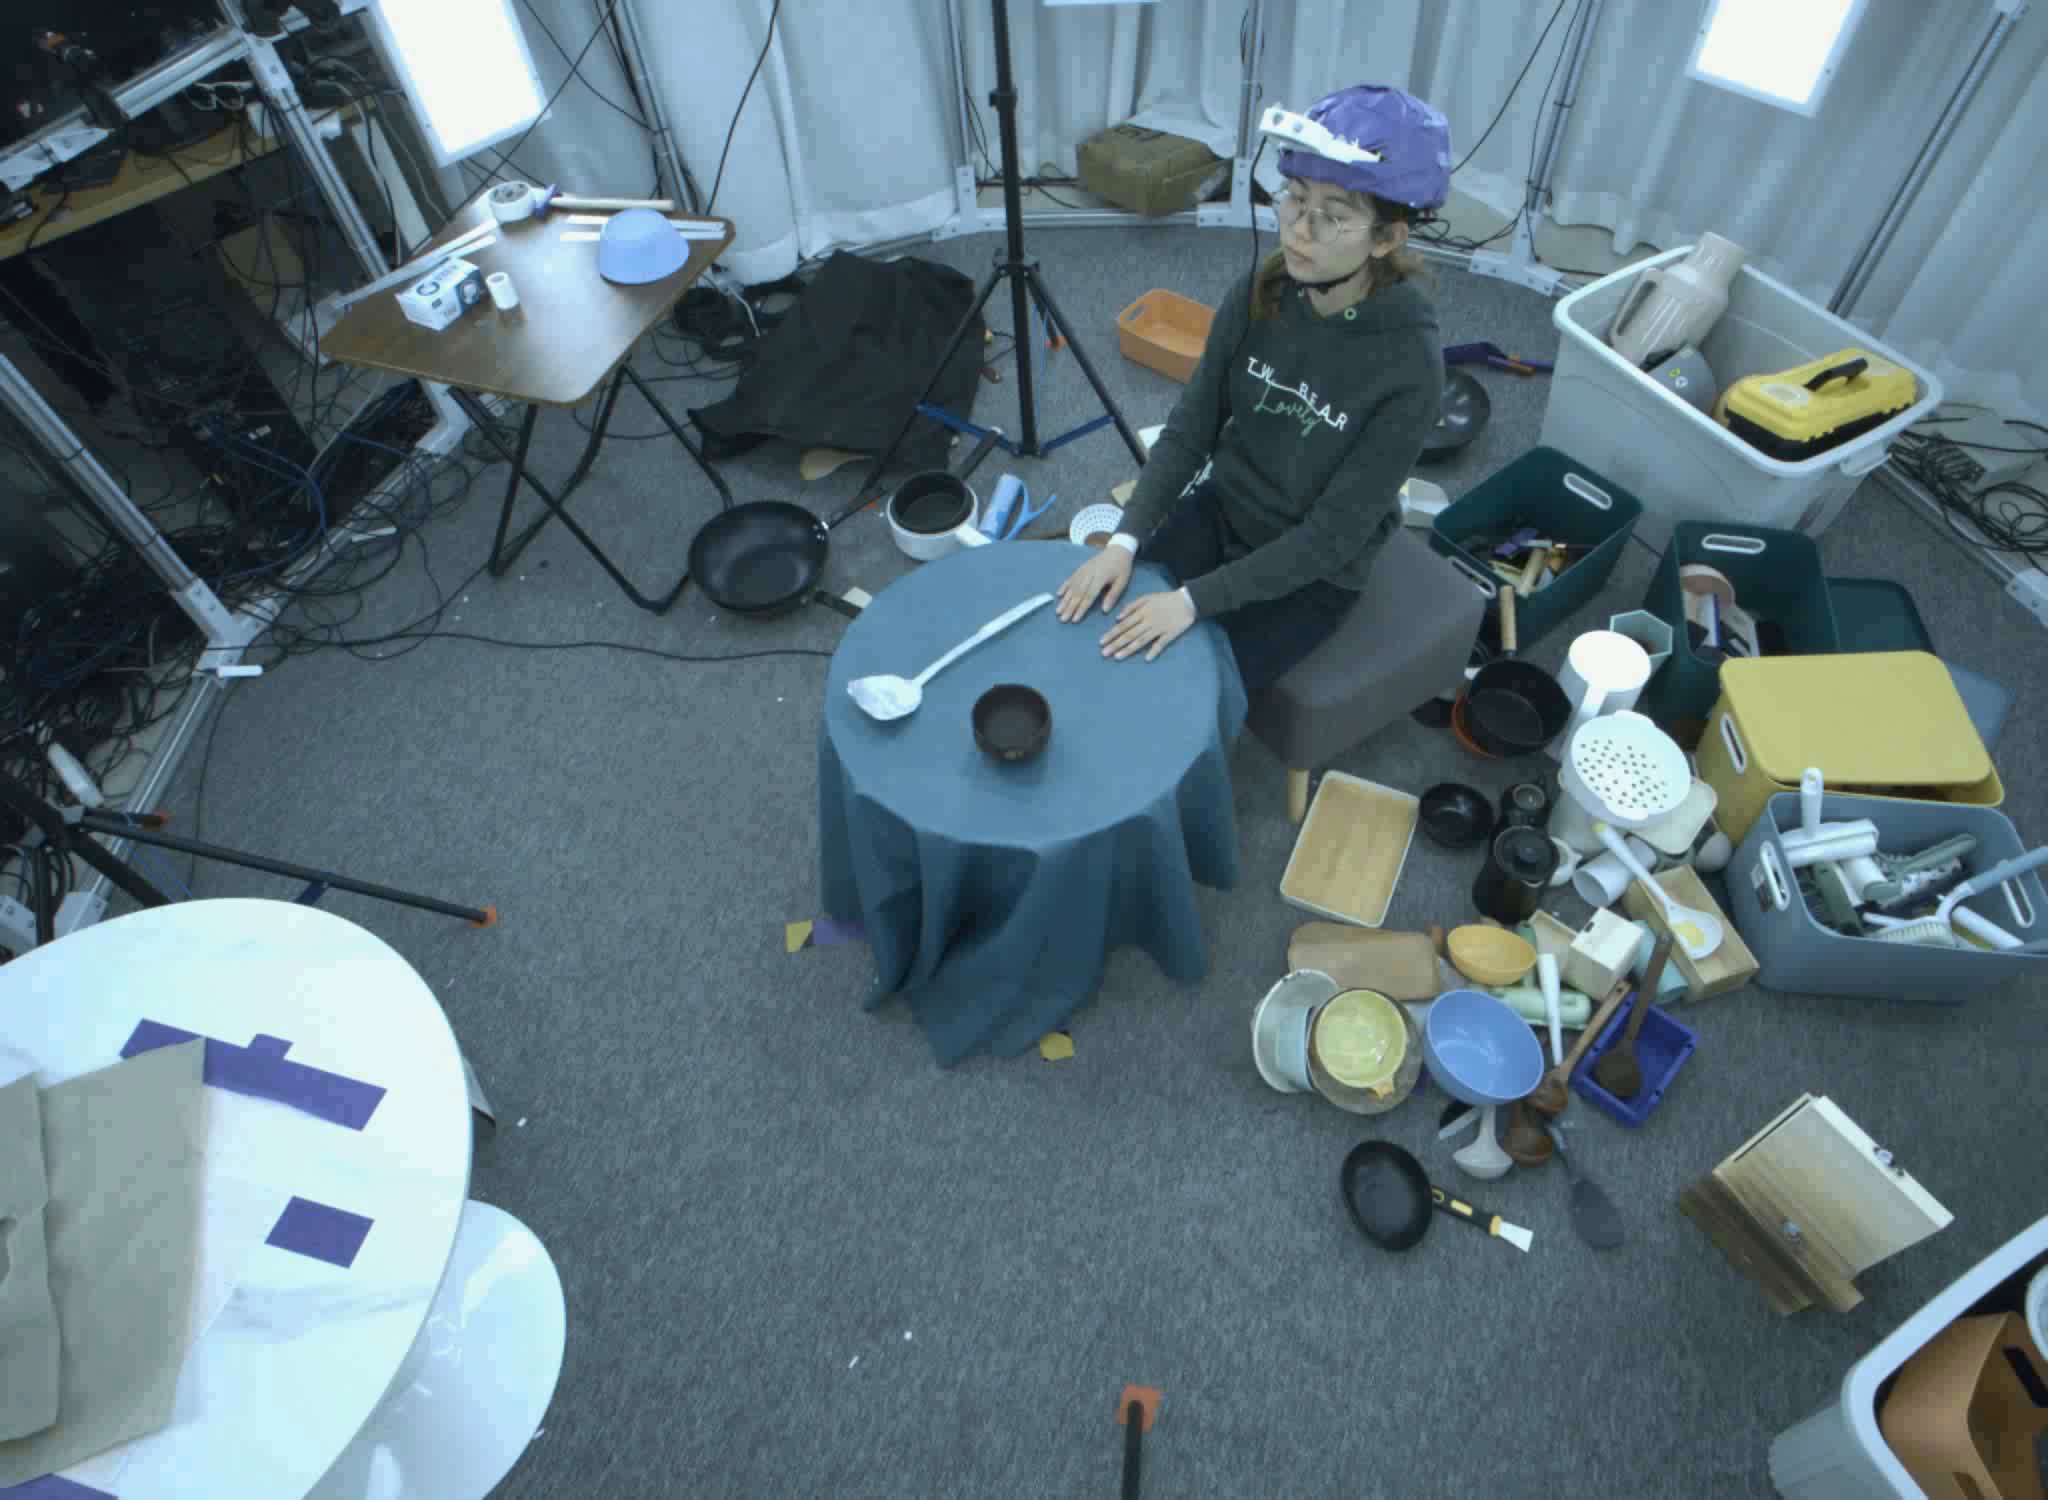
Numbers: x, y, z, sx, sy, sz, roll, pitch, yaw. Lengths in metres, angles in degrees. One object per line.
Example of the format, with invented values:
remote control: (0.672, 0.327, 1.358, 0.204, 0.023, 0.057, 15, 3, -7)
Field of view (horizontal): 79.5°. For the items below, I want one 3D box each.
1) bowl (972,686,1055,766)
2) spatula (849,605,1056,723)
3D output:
bowl: (-0.015, -0.027, 1.773, 0.118, 0.070, 0.117, 0, 56, 1)
spatula: (-0.099, -0.147, 1.880, 0.368, 0.045, 0.097, -35, 59, -20)
